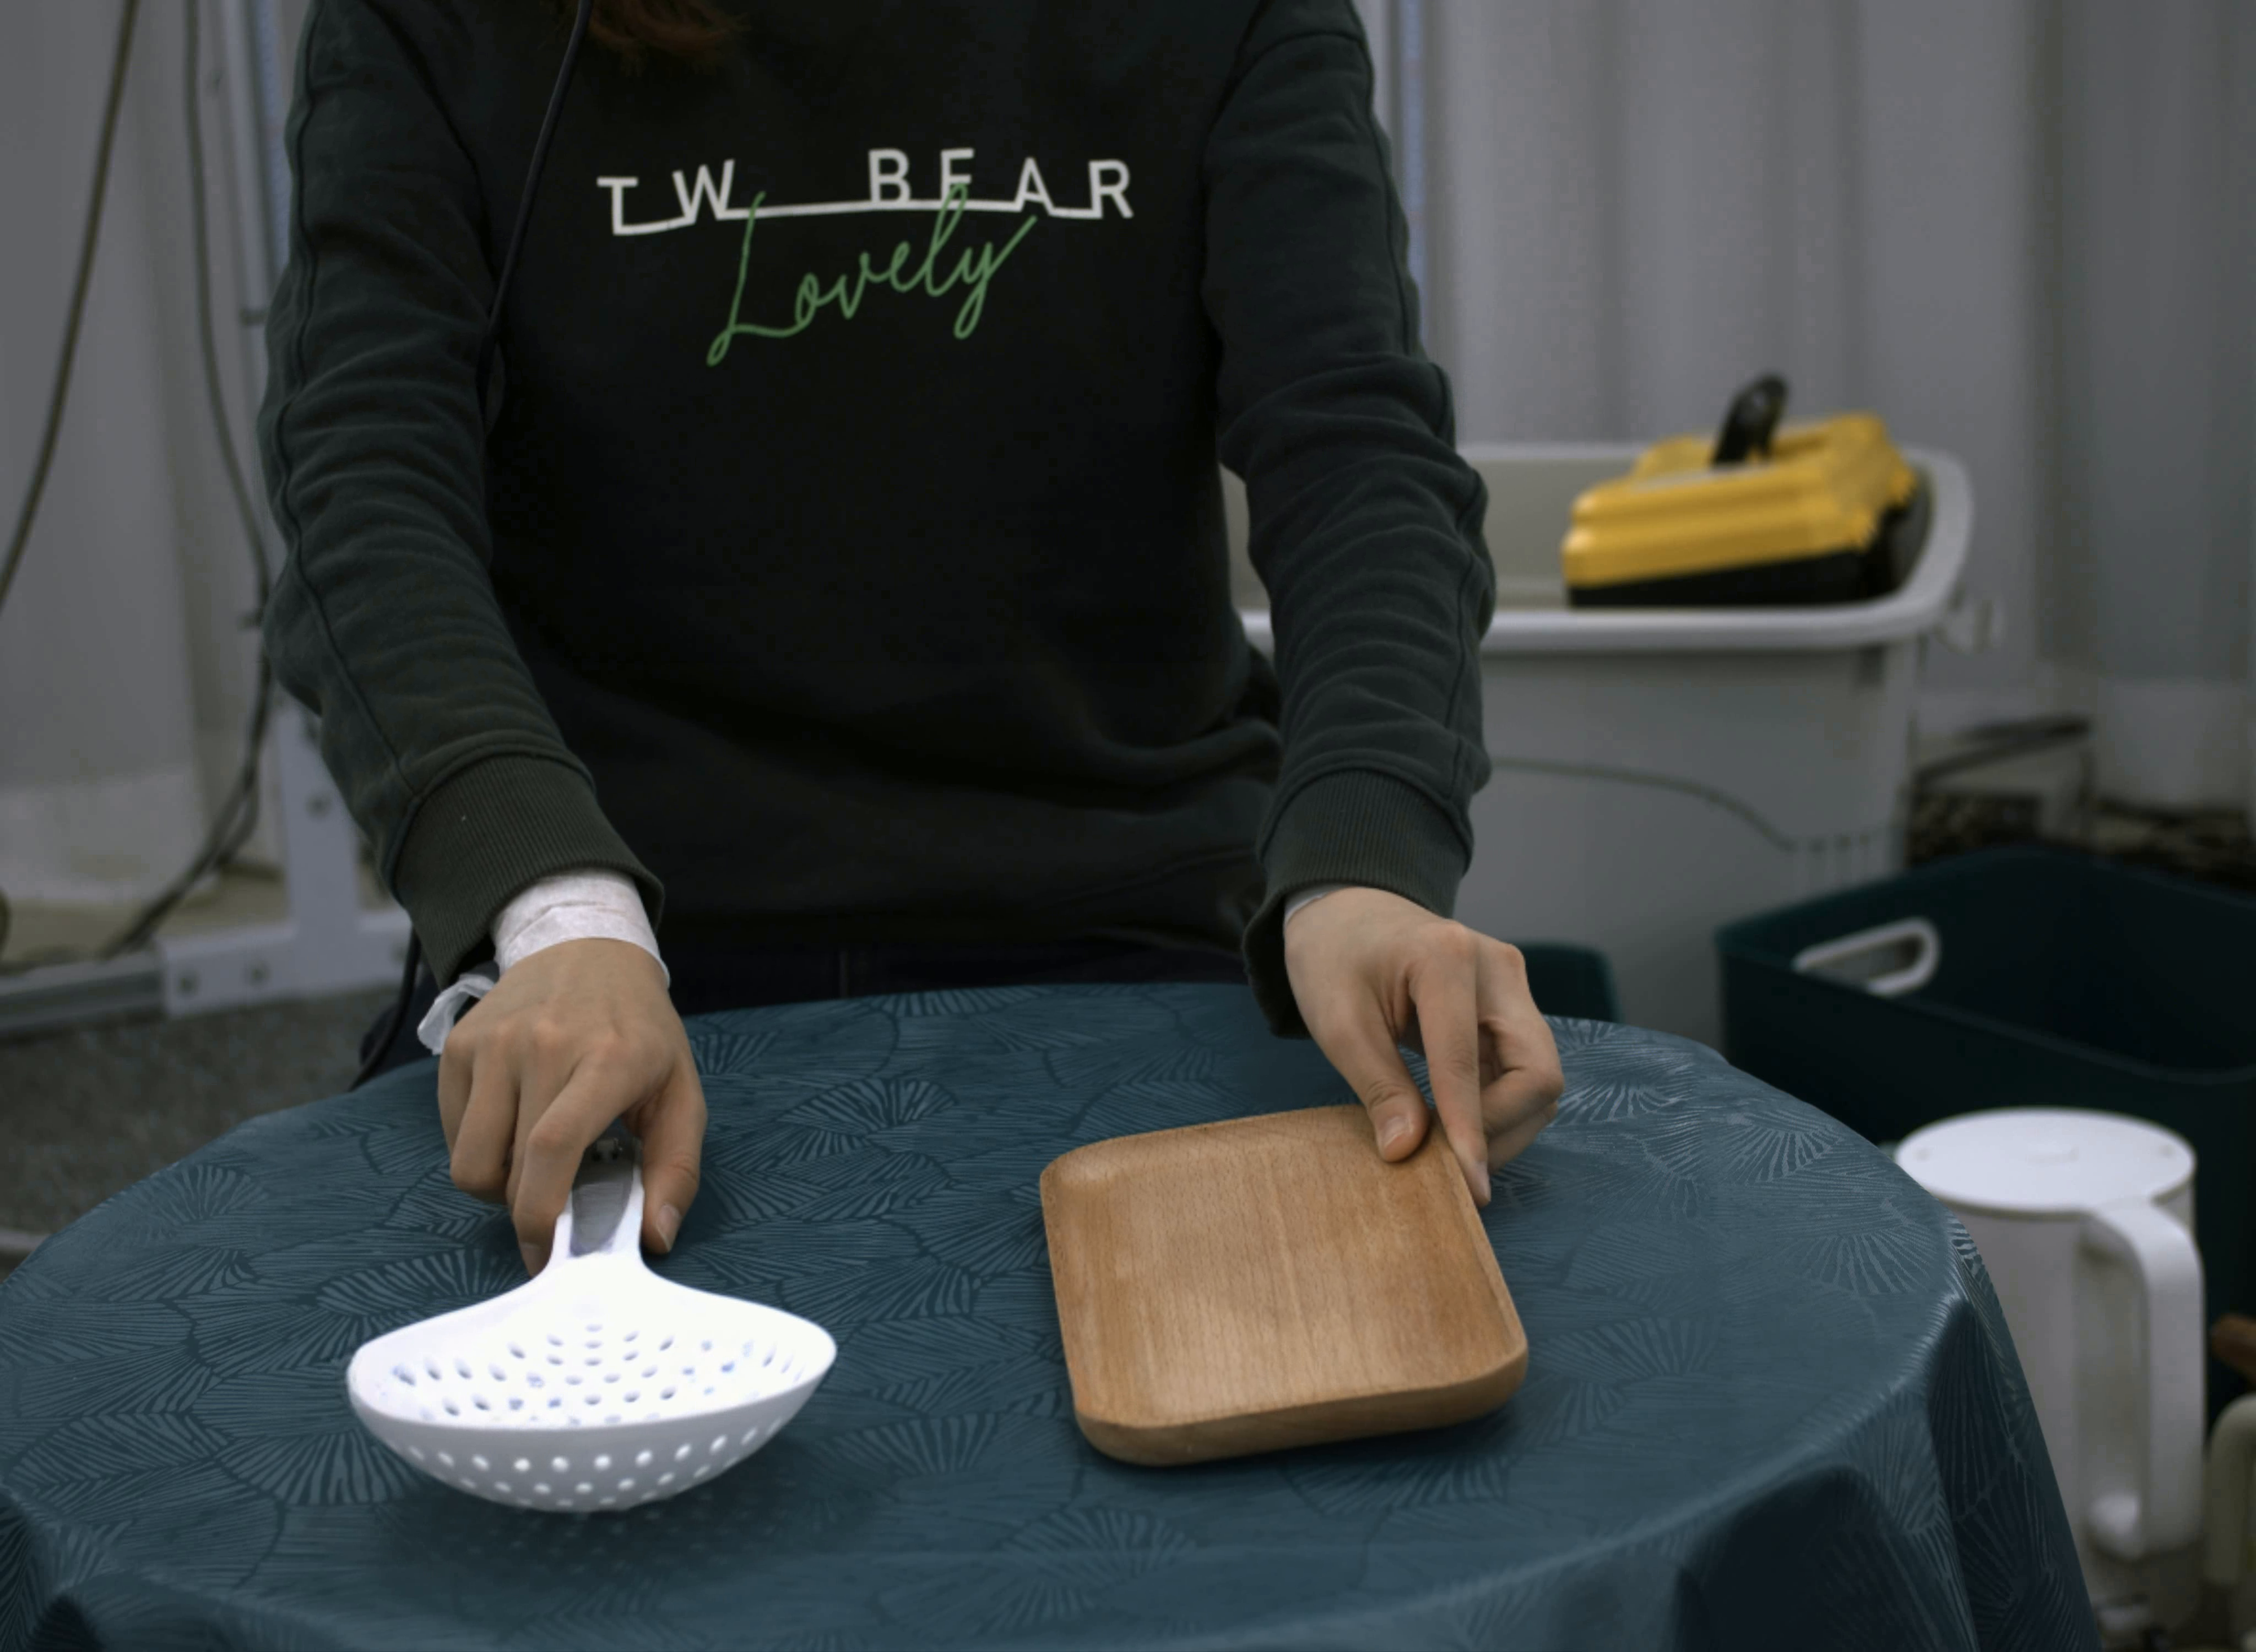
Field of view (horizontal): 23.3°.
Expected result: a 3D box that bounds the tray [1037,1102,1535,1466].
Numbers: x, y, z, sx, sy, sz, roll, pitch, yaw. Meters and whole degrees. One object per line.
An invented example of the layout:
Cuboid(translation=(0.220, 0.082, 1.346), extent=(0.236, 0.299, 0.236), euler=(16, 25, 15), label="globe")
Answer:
Cuboid(translation=(0.042, 0.131, 1.597), extent=(0.130, 0.023, 0.252), euler=(-6, 14, -2), label="tray")

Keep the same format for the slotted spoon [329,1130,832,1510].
Cuboid(translation=(-0.155, 0.134, 1.585), extent=(0.135, 0.045, 0.352), euler=(-1, 14, -4), label="slotted spoon")
